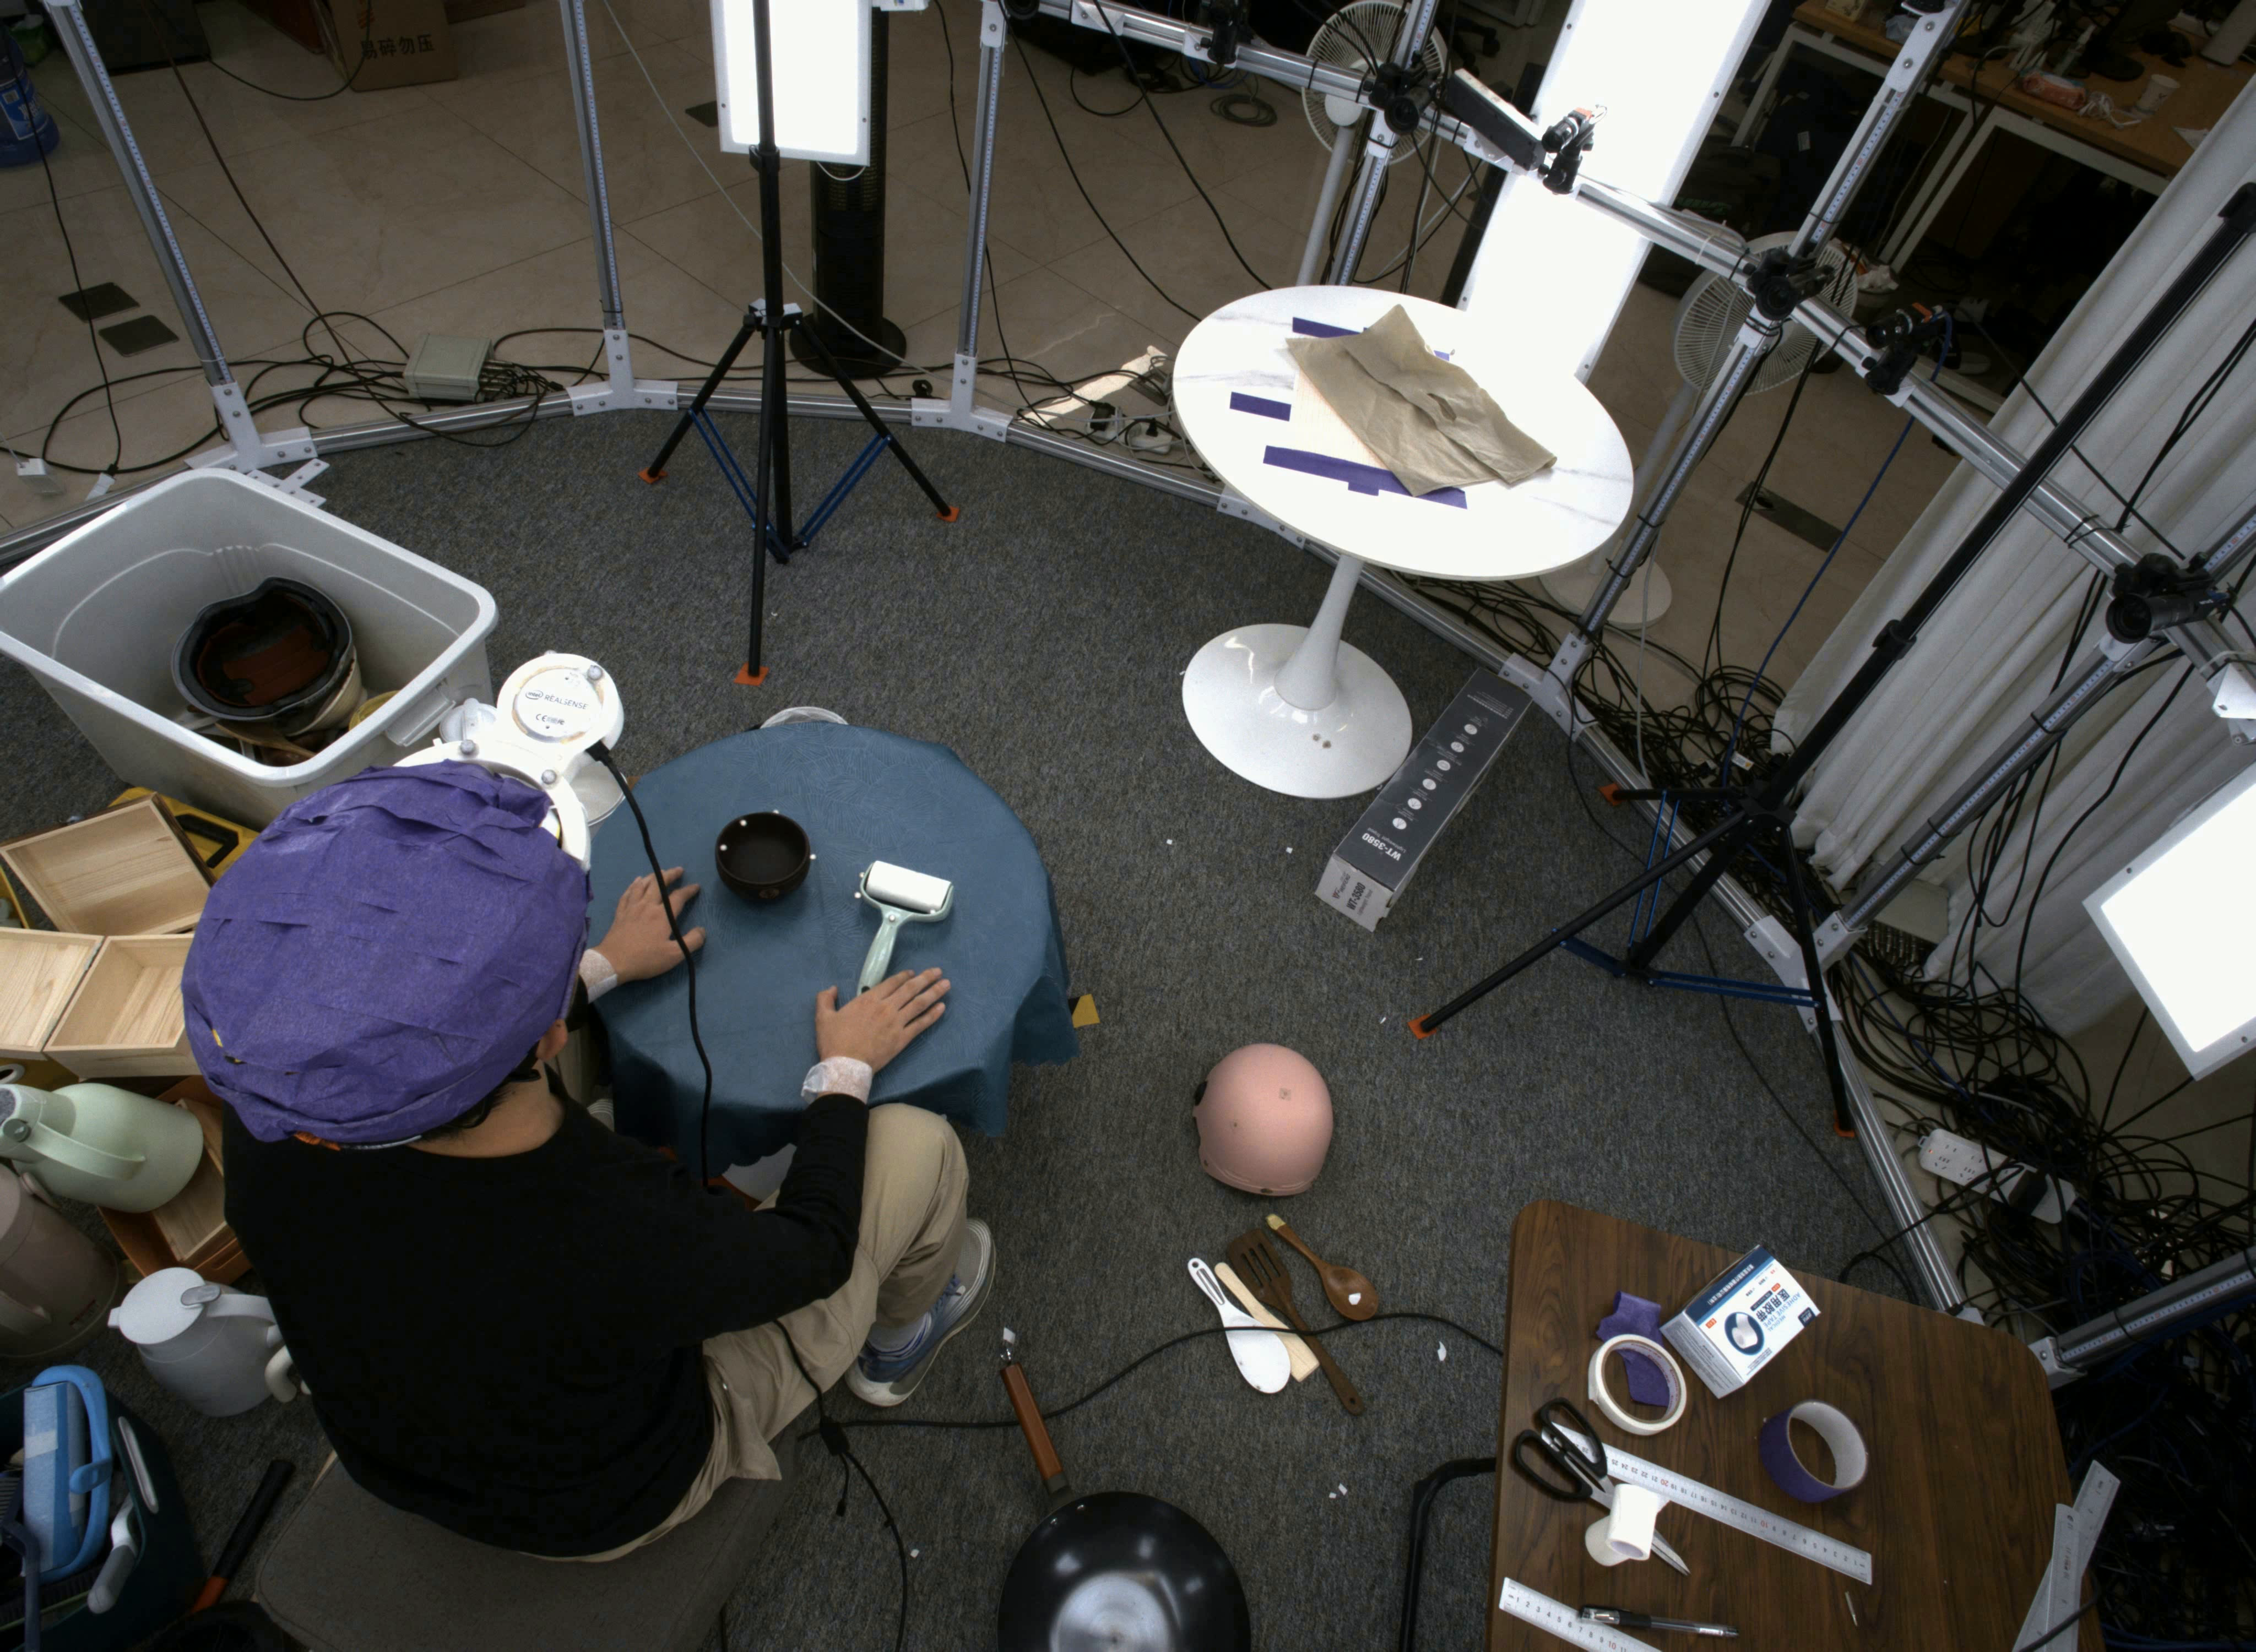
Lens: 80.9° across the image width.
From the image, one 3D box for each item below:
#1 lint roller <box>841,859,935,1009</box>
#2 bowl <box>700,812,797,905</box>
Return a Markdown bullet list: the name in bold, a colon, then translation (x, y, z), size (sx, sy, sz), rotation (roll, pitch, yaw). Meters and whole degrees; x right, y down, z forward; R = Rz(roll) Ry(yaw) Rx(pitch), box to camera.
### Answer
- **lint roller**: translation (-0.318, 0.132, 1.620), size (0.116, 0.049, 0.195), rotation (16, 53, -3)
- **bowl**: translation (-0.475, 0.047, 1.624), size (0.118, 0.071, 0.116), rotation (8, 53, -9)
